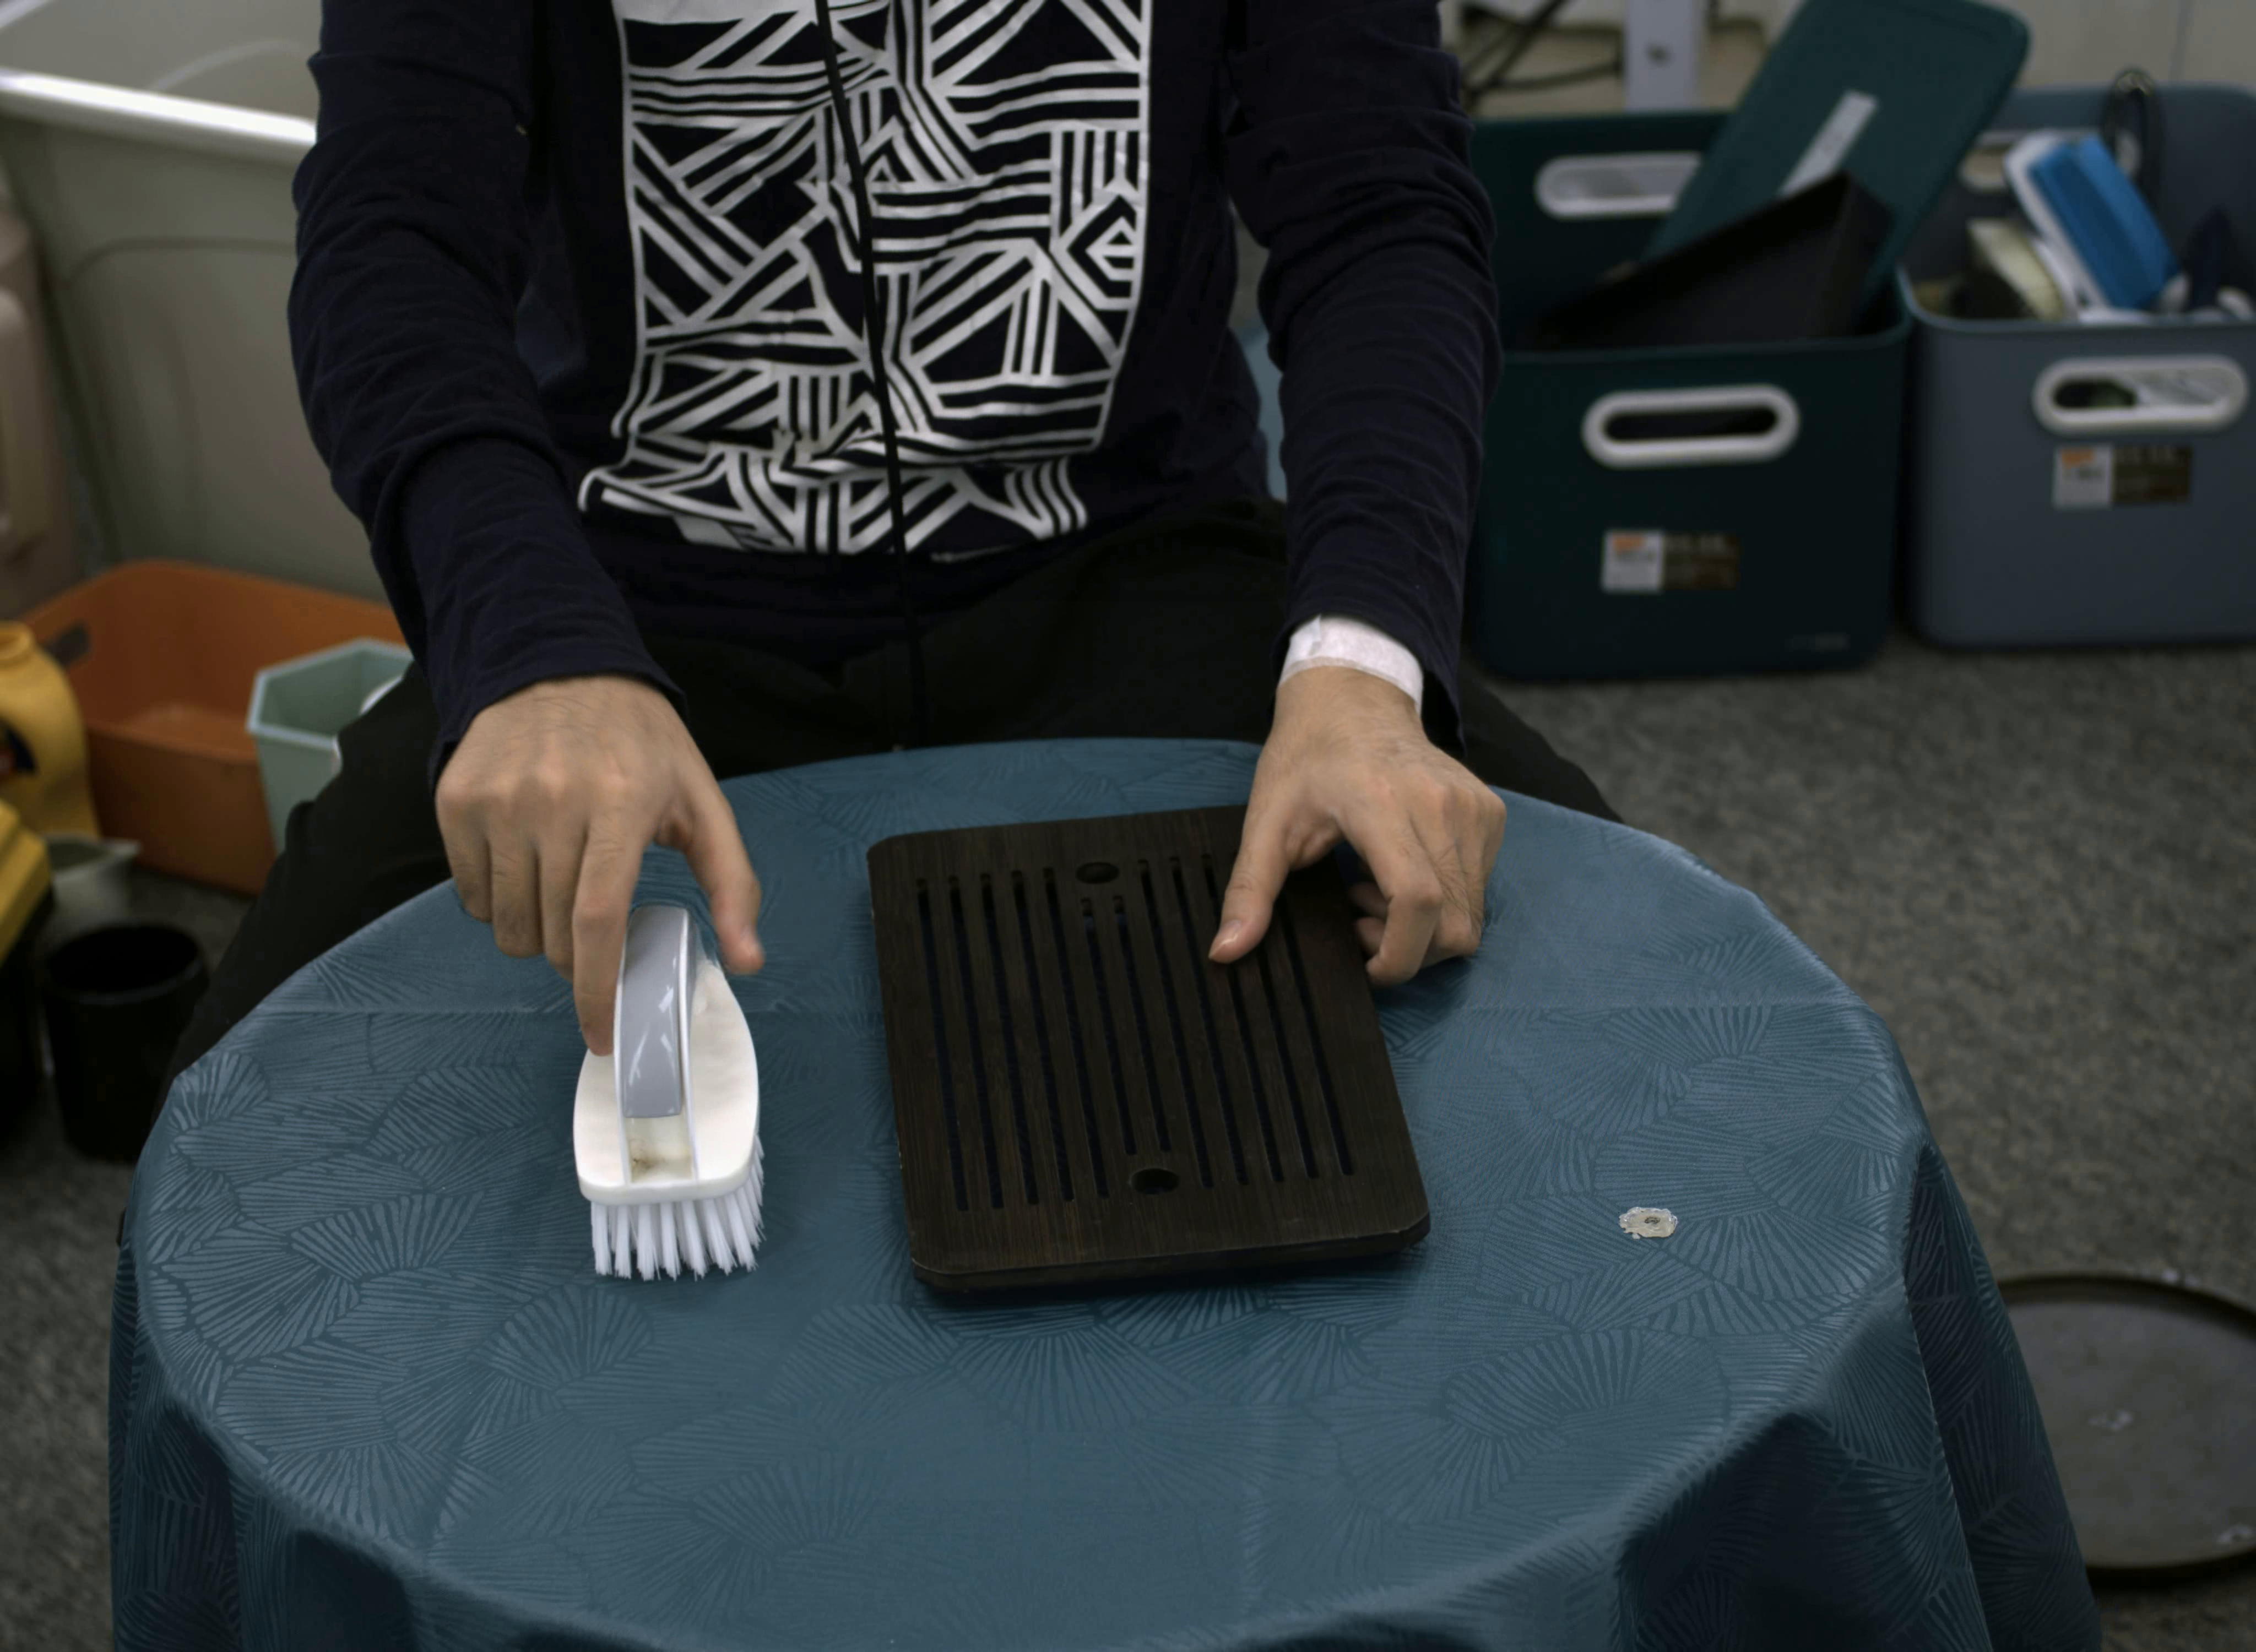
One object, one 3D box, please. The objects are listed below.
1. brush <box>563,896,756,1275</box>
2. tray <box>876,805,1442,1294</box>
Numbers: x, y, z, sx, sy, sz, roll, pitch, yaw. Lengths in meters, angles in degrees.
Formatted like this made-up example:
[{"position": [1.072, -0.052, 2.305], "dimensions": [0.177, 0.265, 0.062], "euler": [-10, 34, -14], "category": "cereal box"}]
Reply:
[{"position": [-0.157, 0.071, 1.878], "dimensions": [0.061, 0.093, 0.178], "euler": [-6, 25, 1], "category": "brush"}, {"position": [0.005, 0.074, 1.932], "dimensions": [0.169, 0.018, 0.310], "euler": [-5, 27, -4], "category": "tray"}]
